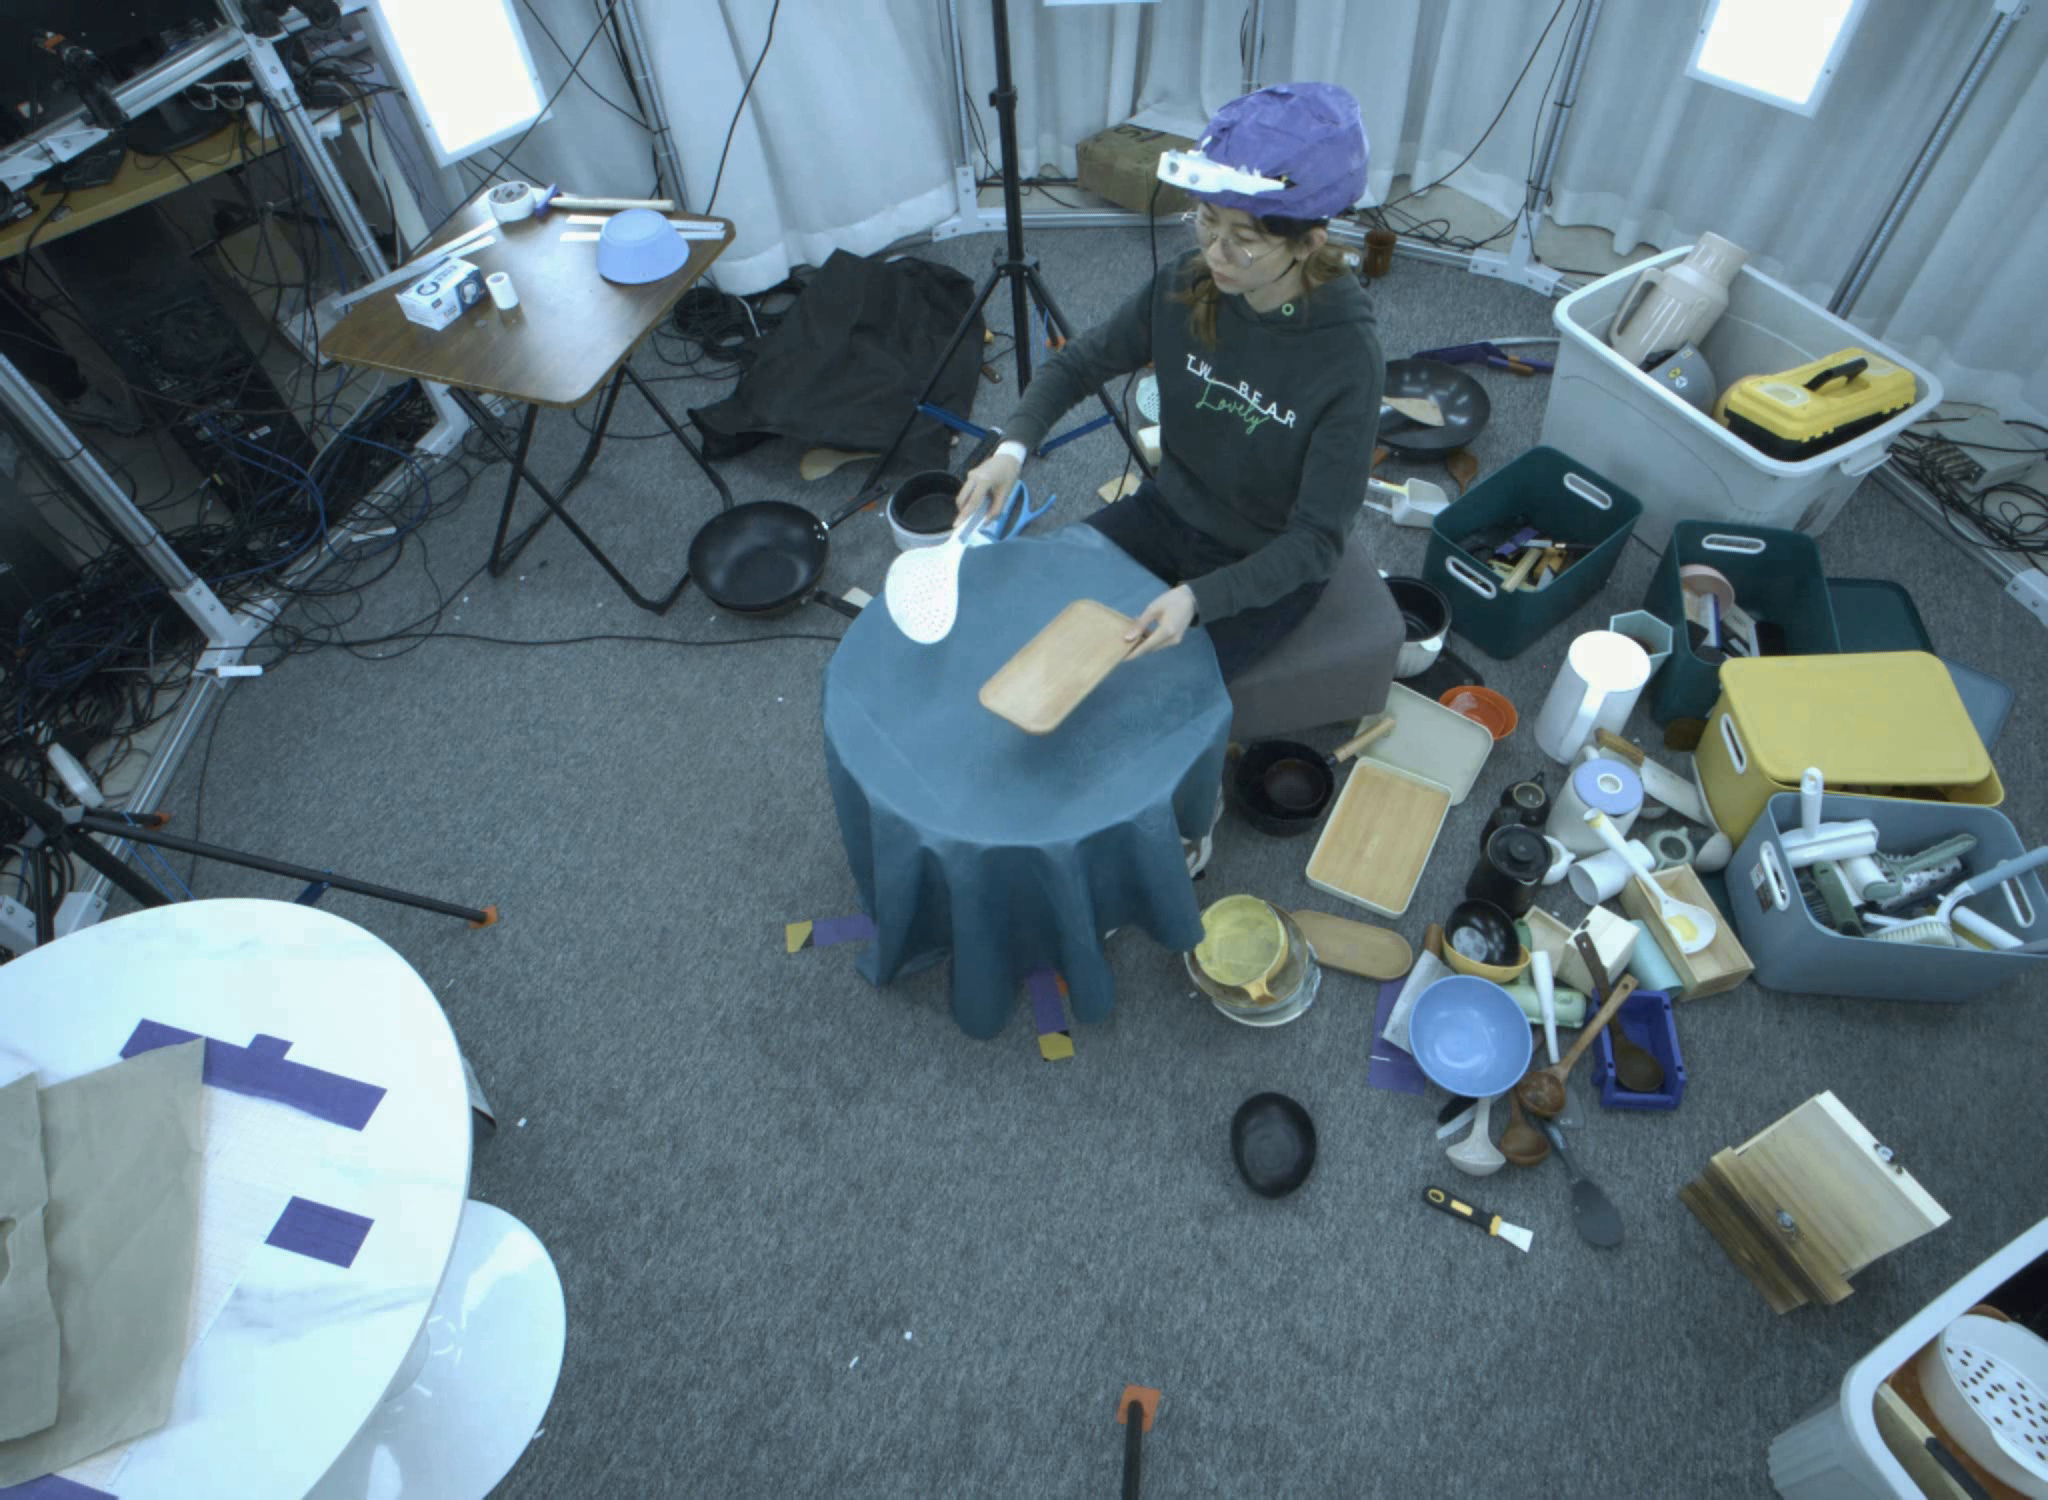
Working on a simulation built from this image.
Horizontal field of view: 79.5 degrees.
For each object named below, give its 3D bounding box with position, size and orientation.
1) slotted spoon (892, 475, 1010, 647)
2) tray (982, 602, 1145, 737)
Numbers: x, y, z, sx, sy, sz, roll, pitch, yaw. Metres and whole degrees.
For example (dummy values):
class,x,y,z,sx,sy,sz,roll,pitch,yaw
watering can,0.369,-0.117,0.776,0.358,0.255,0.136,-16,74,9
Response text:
class,x,y,z,sx,sy,sz,roll,pitch,yaw
slotted spoon,-0.104,-0.300,1.848,0.045,0.139,0.350,6,52,40
tray,0.058,-0.116,1.742,0.128,0.023,0.252,32,59,23
